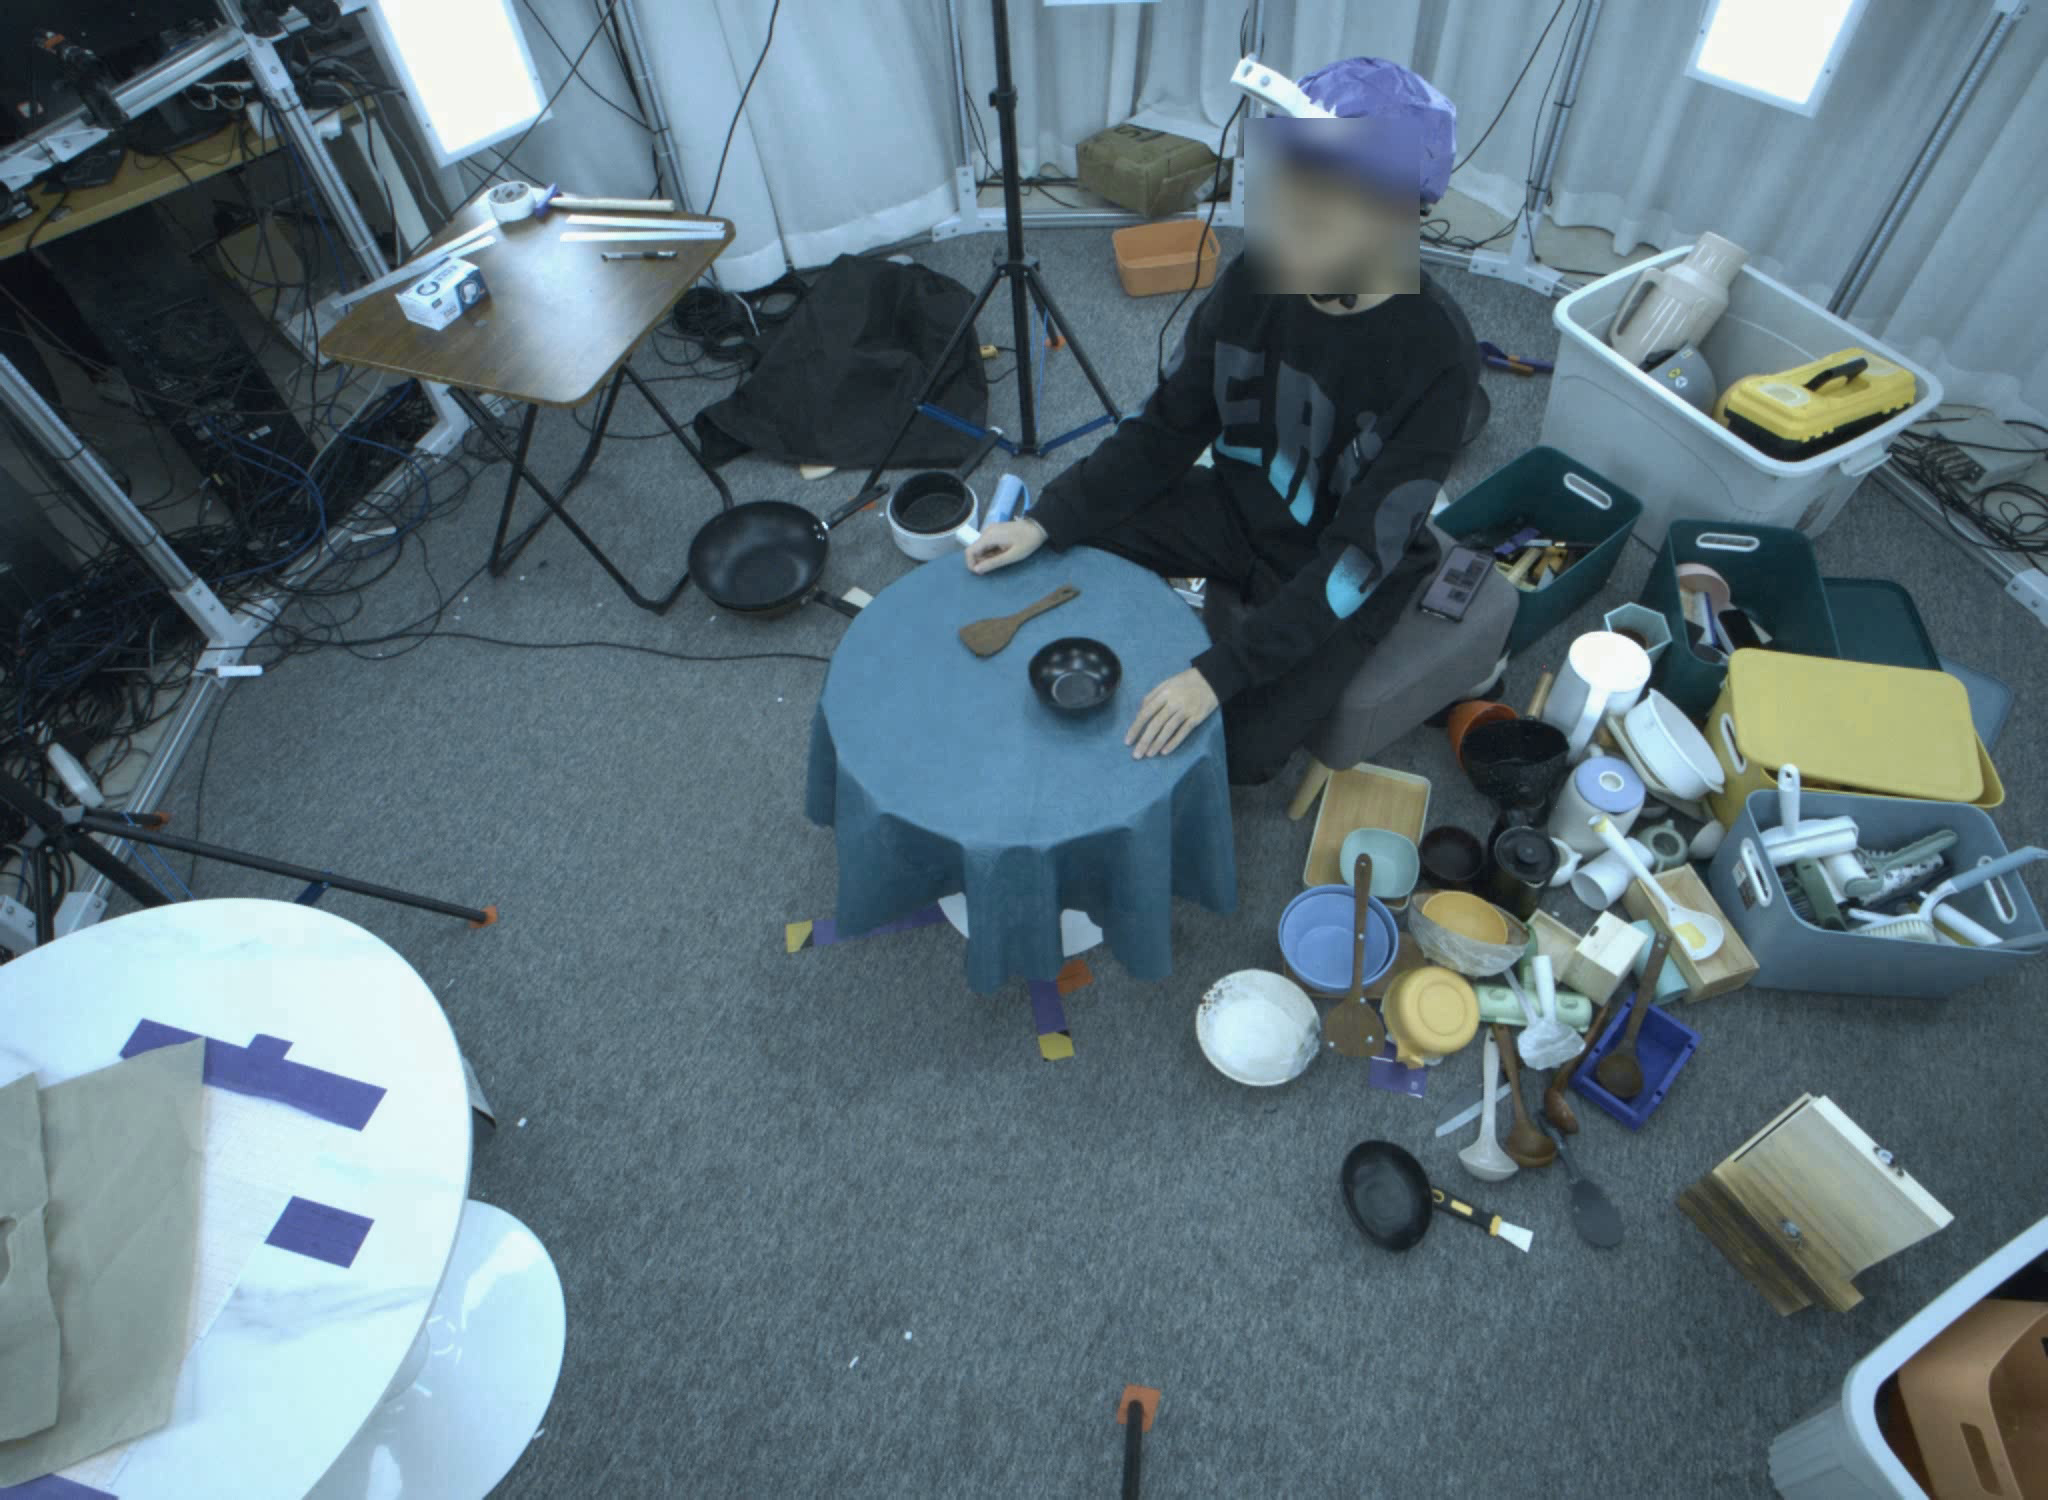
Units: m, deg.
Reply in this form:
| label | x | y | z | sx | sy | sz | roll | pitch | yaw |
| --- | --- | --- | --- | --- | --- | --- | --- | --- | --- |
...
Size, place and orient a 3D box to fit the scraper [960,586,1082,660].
| label | x | y | z | sx | sy | sz | roll | pitch | yaw |
| --- | --- | --- | --- | --- | --- | --- | --- | --- | --- |
| scraper | 0.001 | -0.207 | 1.938 | 0.213 | 0.011 | 0.074 | -30 | 61 | -19 |

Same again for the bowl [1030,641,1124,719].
| label | x | y | z | sx | sy | sz | roll | pitch | yaw |
| --- | --- | --- | --- | --- | --- | --- | --- | --- | --- |
| bowl | 0.080 | -0.096 | 1.833 | 0.140 | 0.050 | 0.138 | -1 | 52 | 3 |
